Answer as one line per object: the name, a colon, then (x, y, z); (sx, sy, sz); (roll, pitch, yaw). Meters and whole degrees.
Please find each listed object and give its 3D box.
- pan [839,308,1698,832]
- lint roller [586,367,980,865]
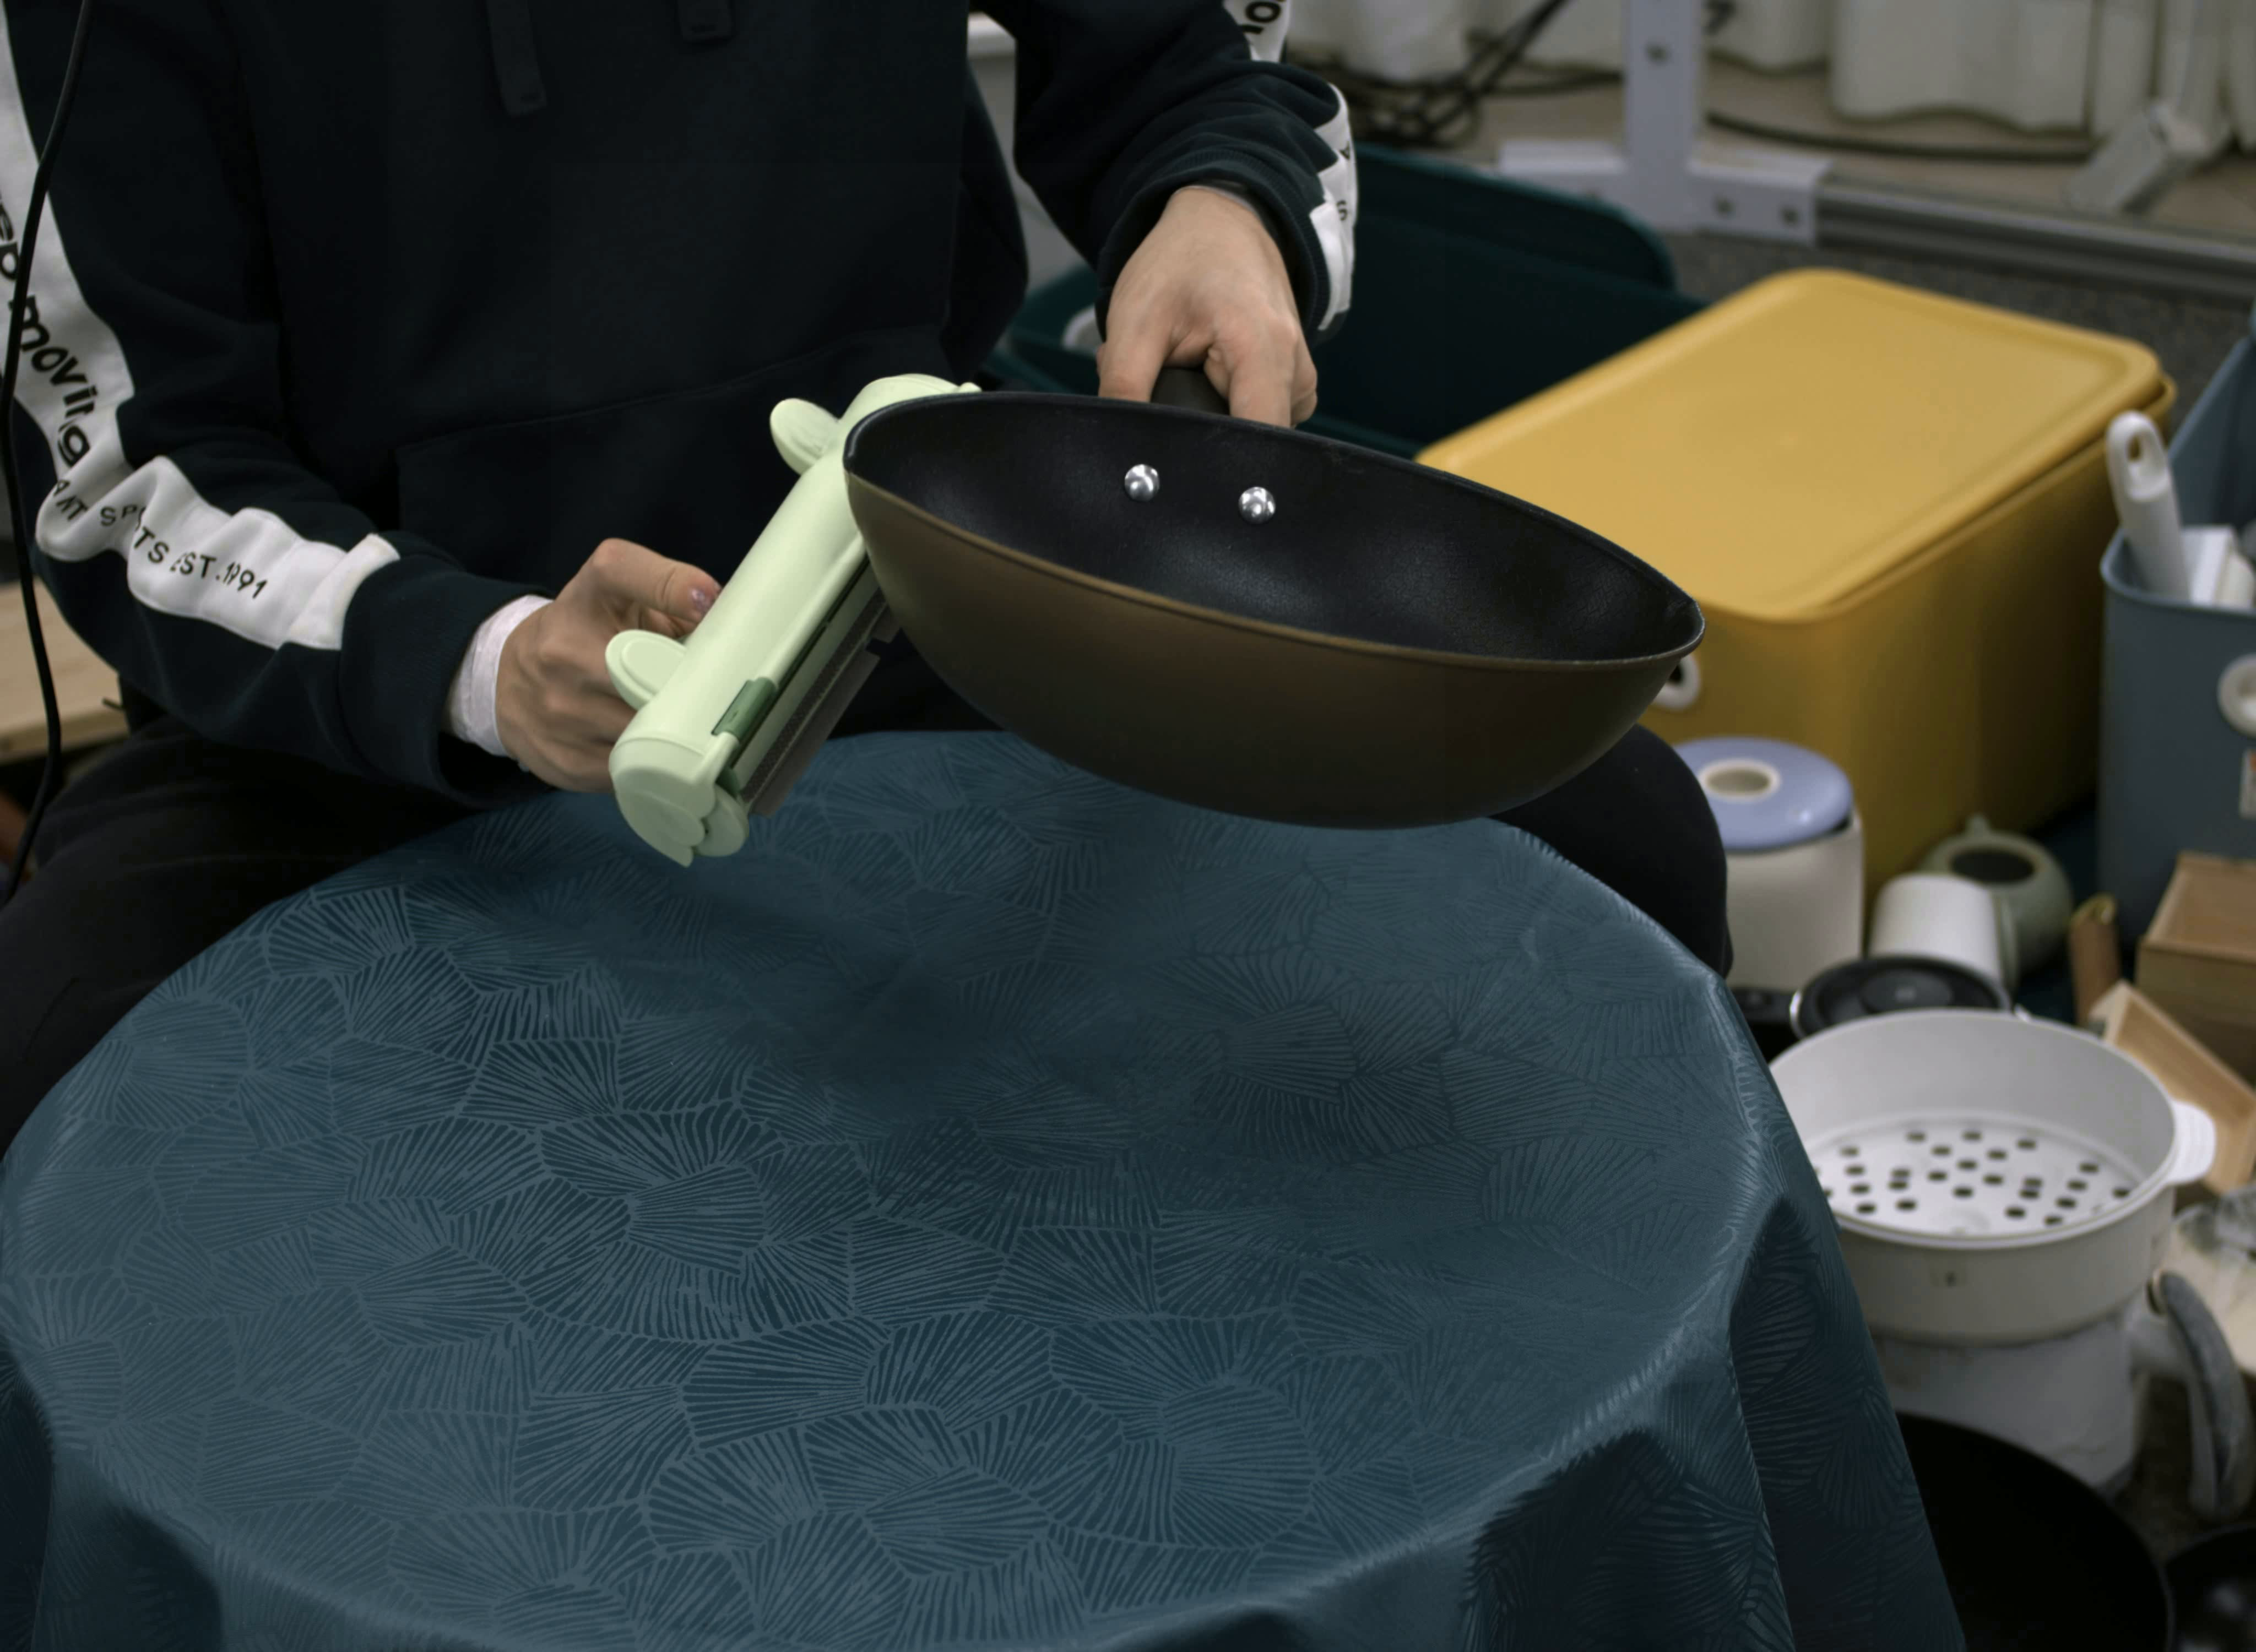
pan: (0.024, -0.091, 1.909); (0.287, 0.086, 0.467); (10, 16, -13)
lint roller: (-0.149, -0.069, 1.940); (0.181, 0.082, 0.202); (-15, 34, 47)
